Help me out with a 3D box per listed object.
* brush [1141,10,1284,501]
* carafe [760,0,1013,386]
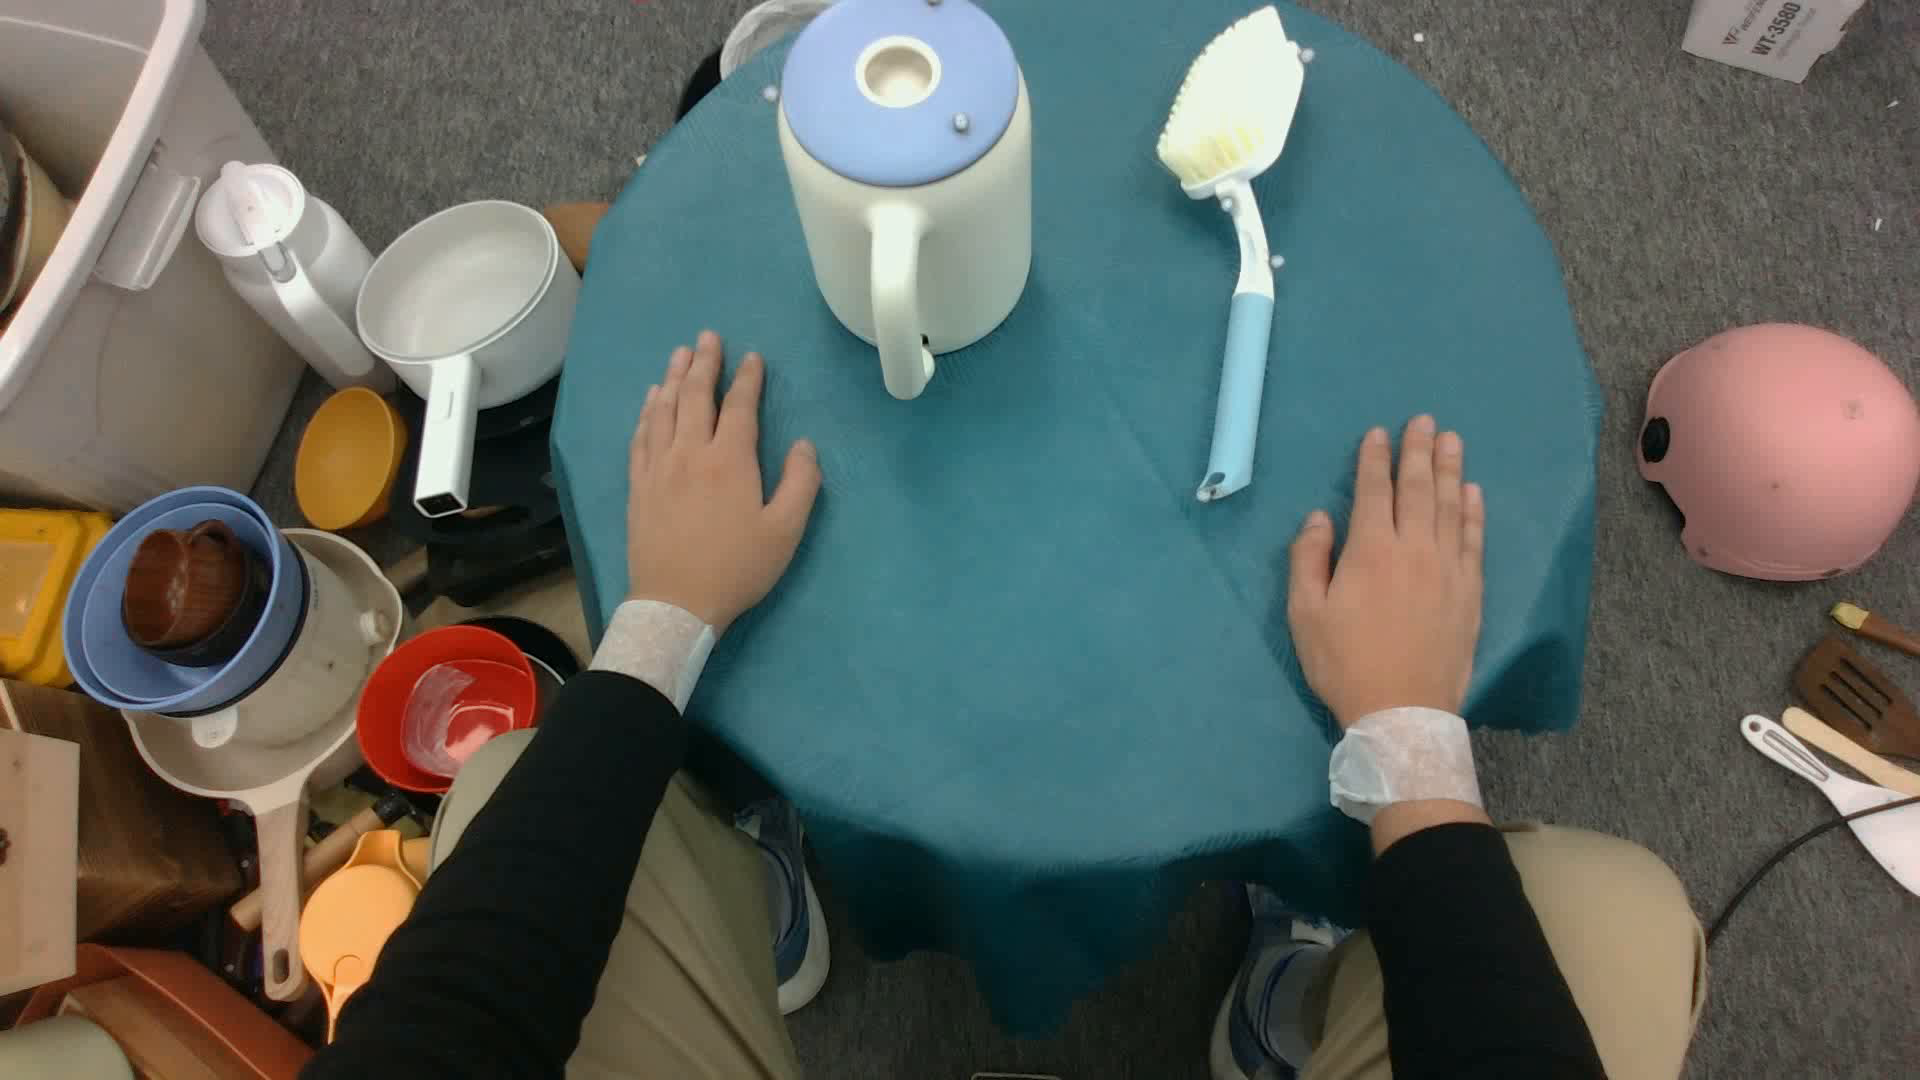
[{"bbox_3d":[0.140,-0.181,0.794,0.084,0.083,0.326,12,69,0],"label":"brush"},{"bbox_3d":[-0.037,-0.182,0.752,0.132,0.182,0.191,0,70,2],"label":"carafe"}]
